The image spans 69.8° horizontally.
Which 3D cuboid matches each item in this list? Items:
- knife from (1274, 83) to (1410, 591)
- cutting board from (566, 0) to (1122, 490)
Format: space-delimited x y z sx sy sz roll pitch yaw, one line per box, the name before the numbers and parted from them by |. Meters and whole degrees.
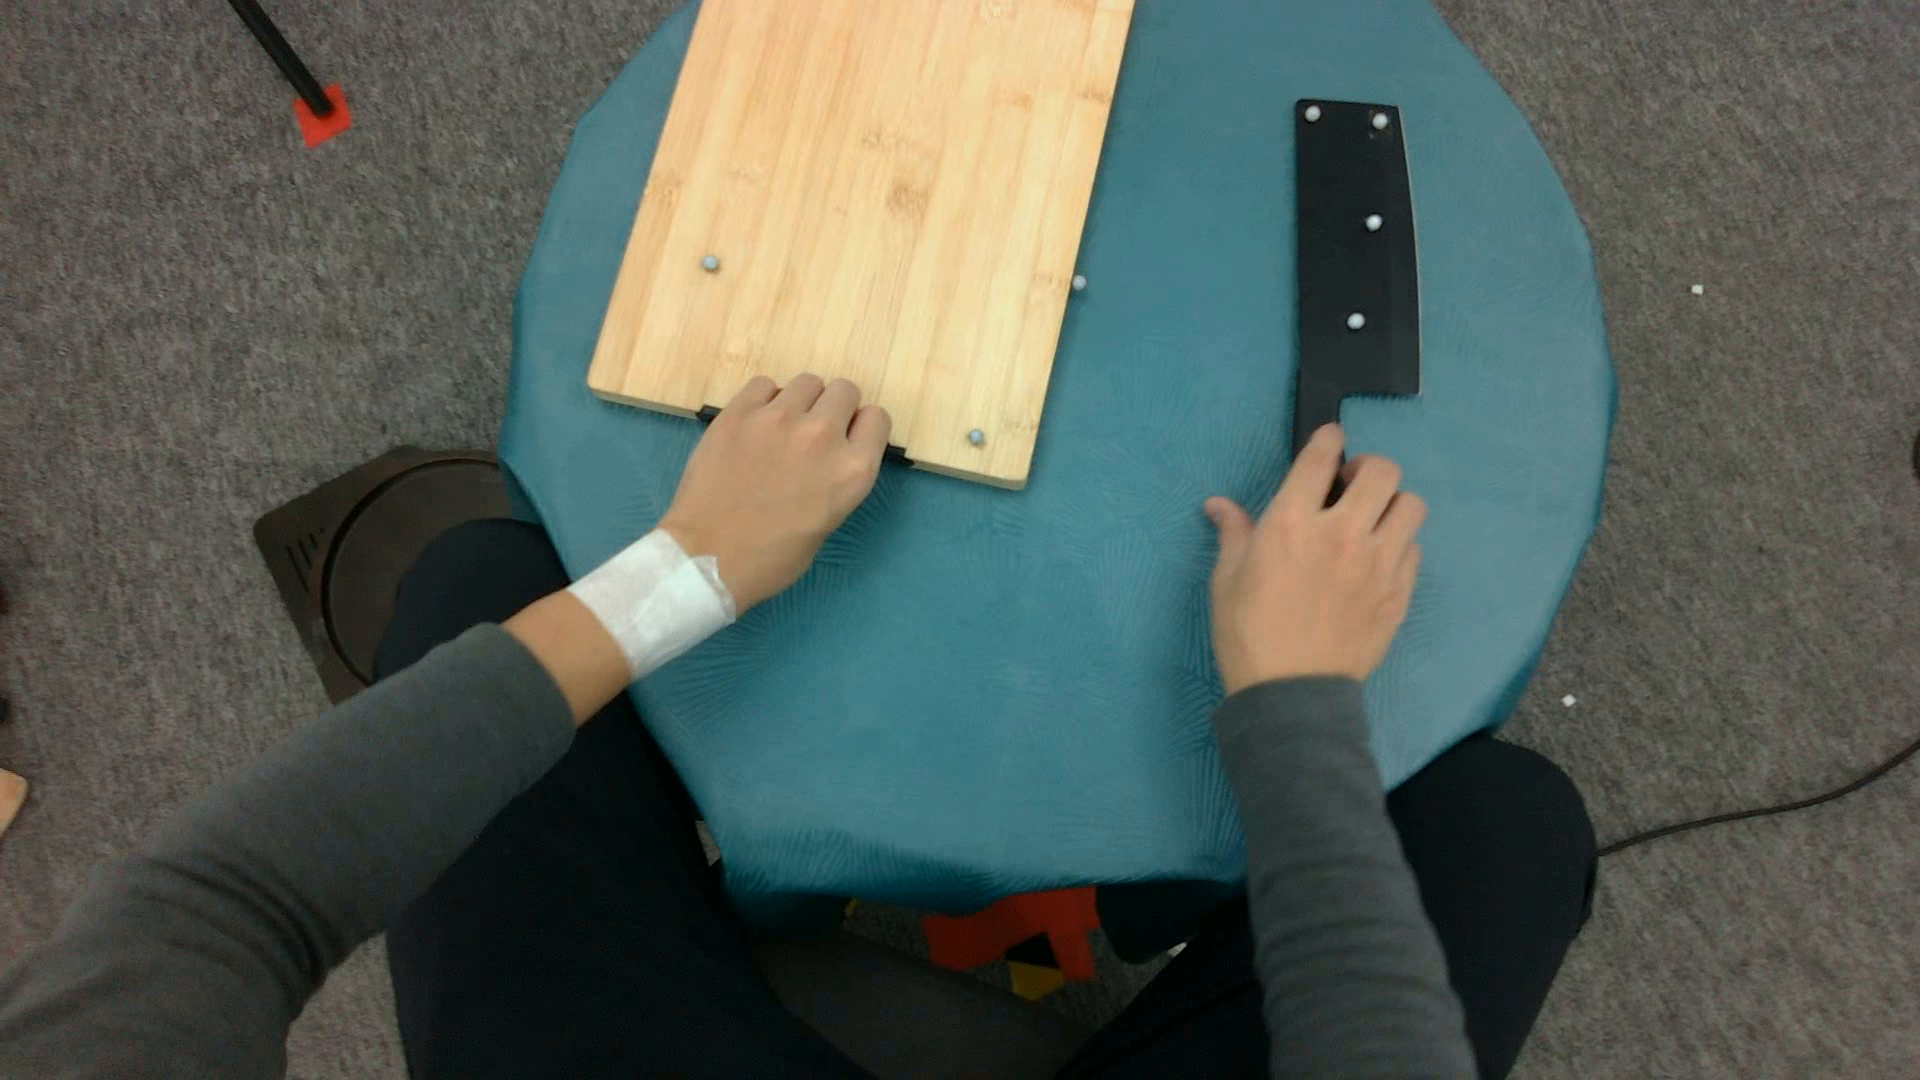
knife | 0.208 -0.120 0.754 0.081 0.021 0.303 7 73 0
cutting board | -0.053 -0.215 0.775 0.250 0.023 0.349 11 75 3
